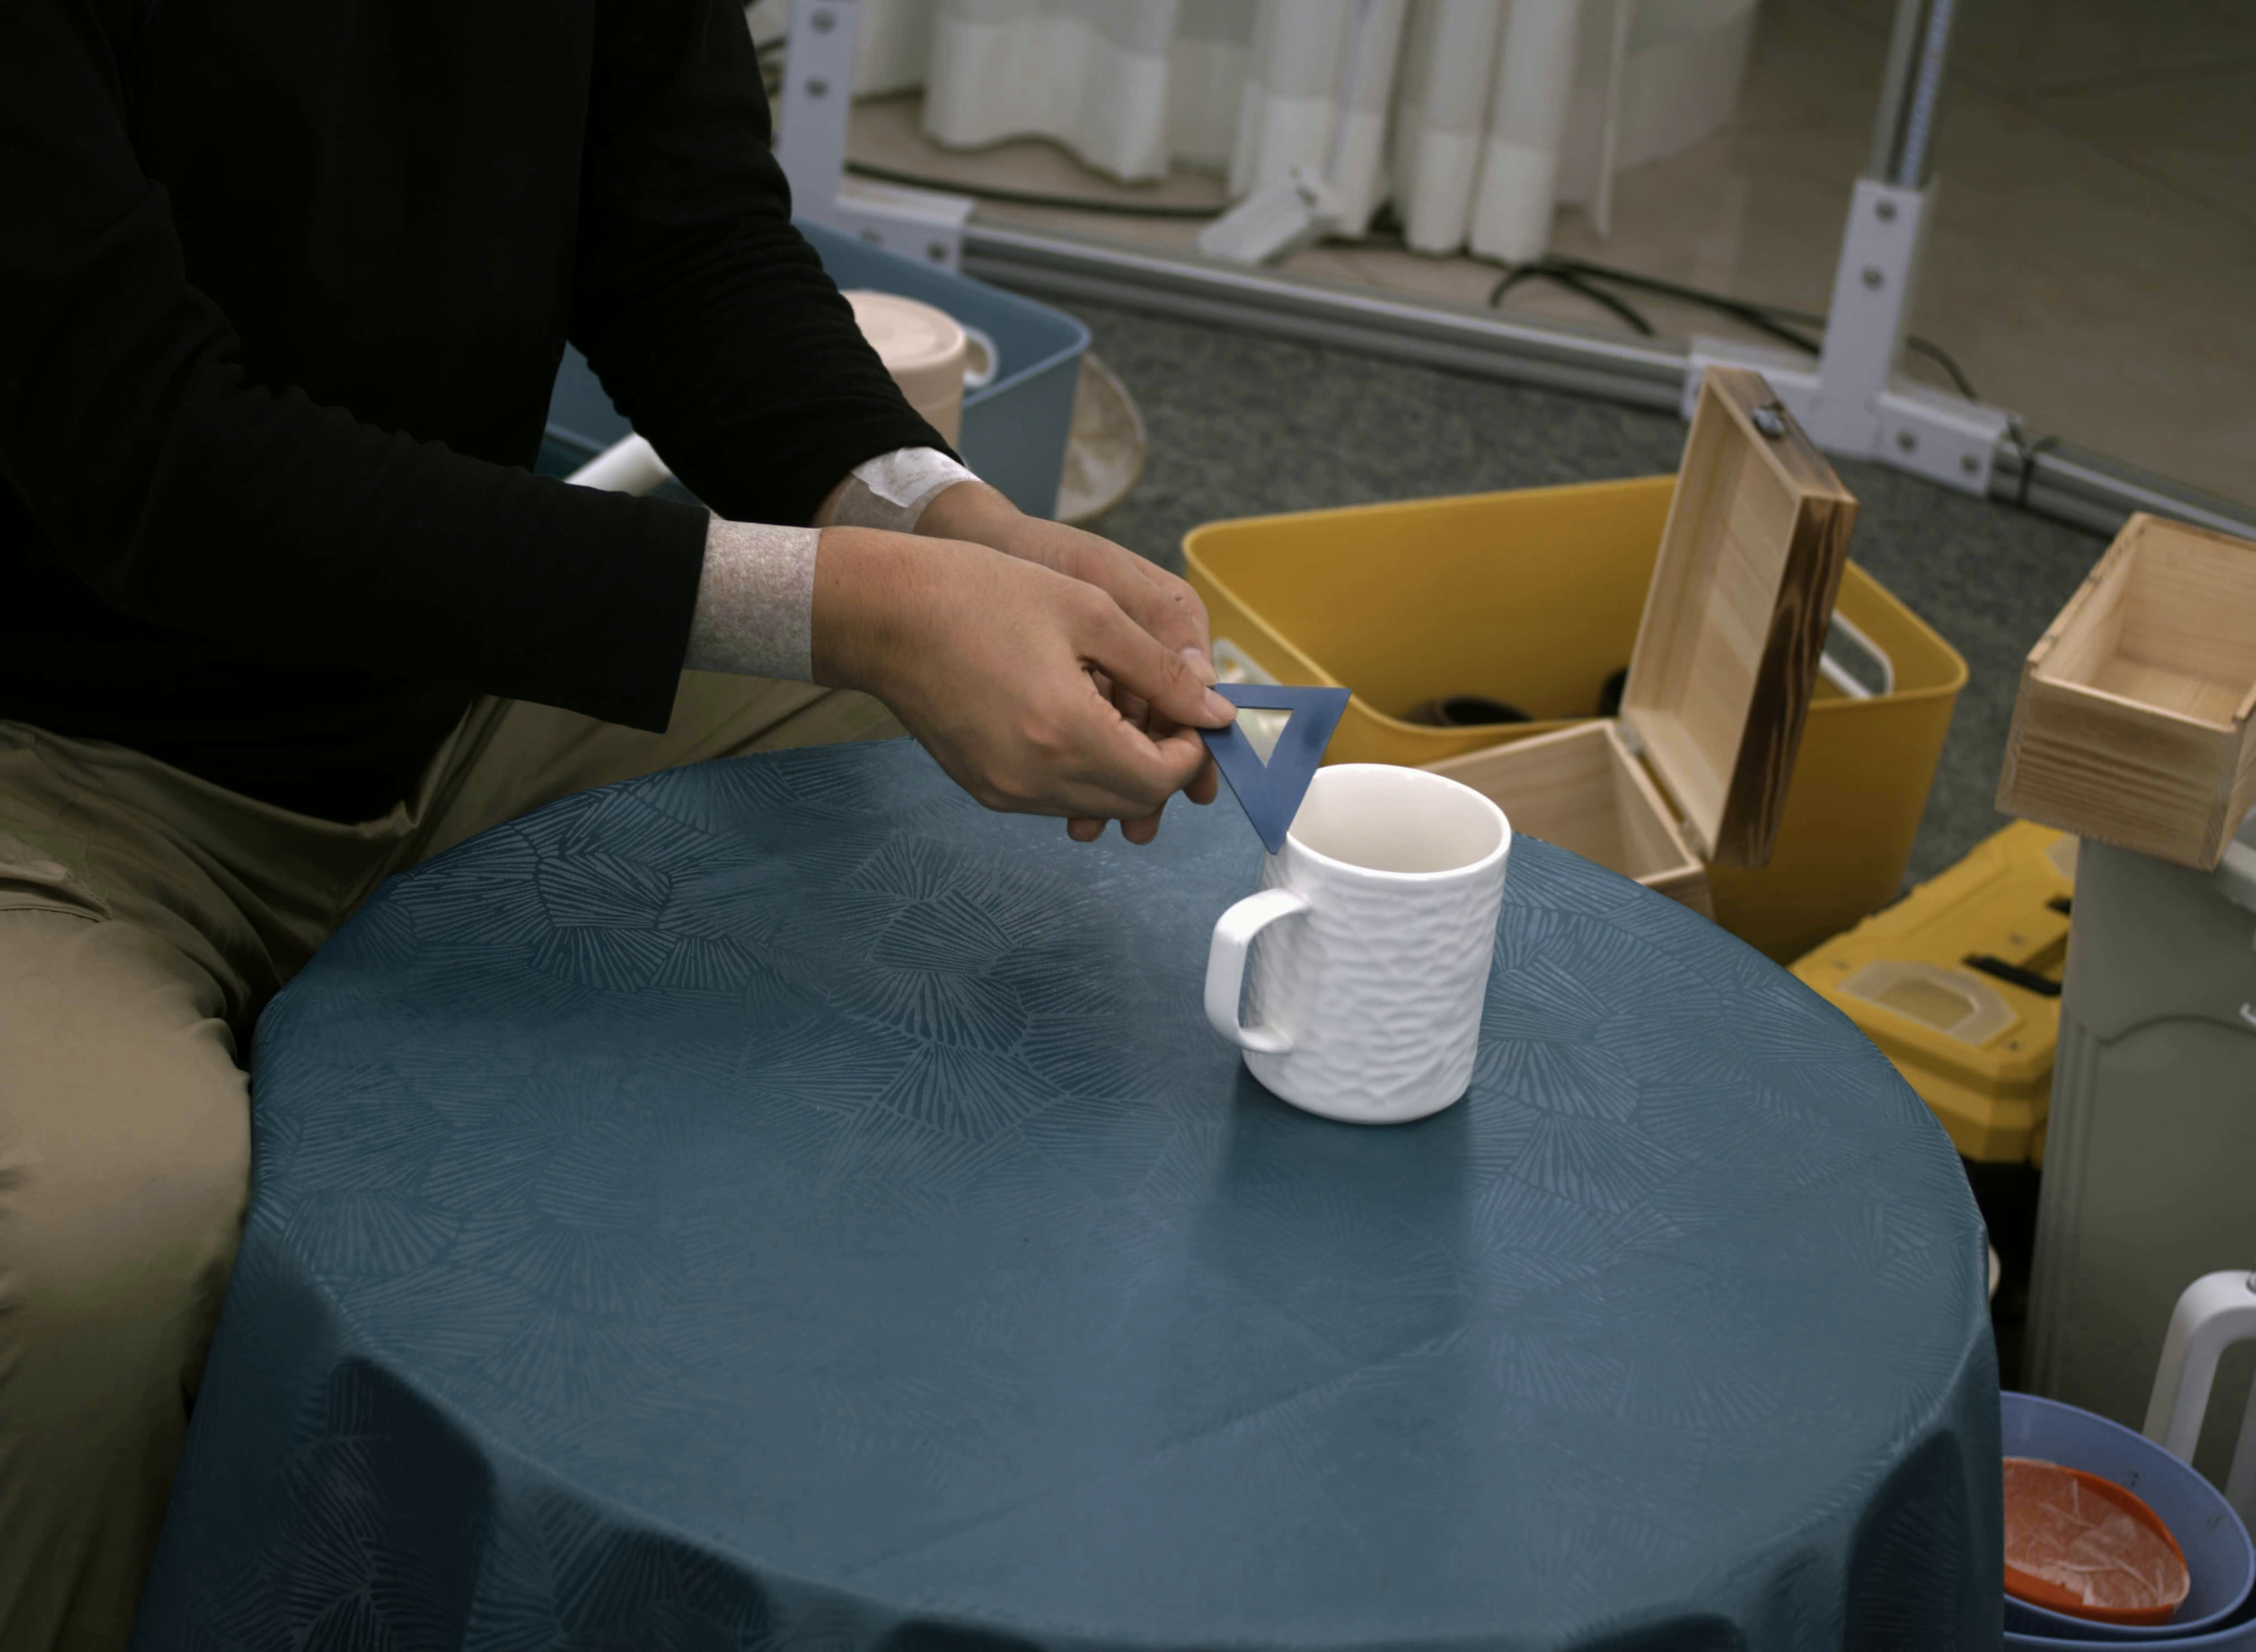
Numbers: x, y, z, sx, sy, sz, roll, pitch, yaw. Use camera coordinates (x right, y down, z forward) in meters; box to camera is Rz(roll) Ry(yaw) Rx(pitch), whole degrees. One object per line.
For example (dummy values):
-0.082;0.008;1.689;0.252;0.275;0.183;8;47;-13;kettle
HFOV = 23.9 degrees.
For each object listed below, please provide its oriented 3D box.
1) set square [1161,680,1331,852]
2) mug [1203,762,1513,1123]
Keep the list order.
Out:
0.029;-0.028;1.869;0.061;0.006;0.132;21;29;9;set square
0.074;0.045;1.859;0.117;0.101;0.085;-16;35;-39;mug
